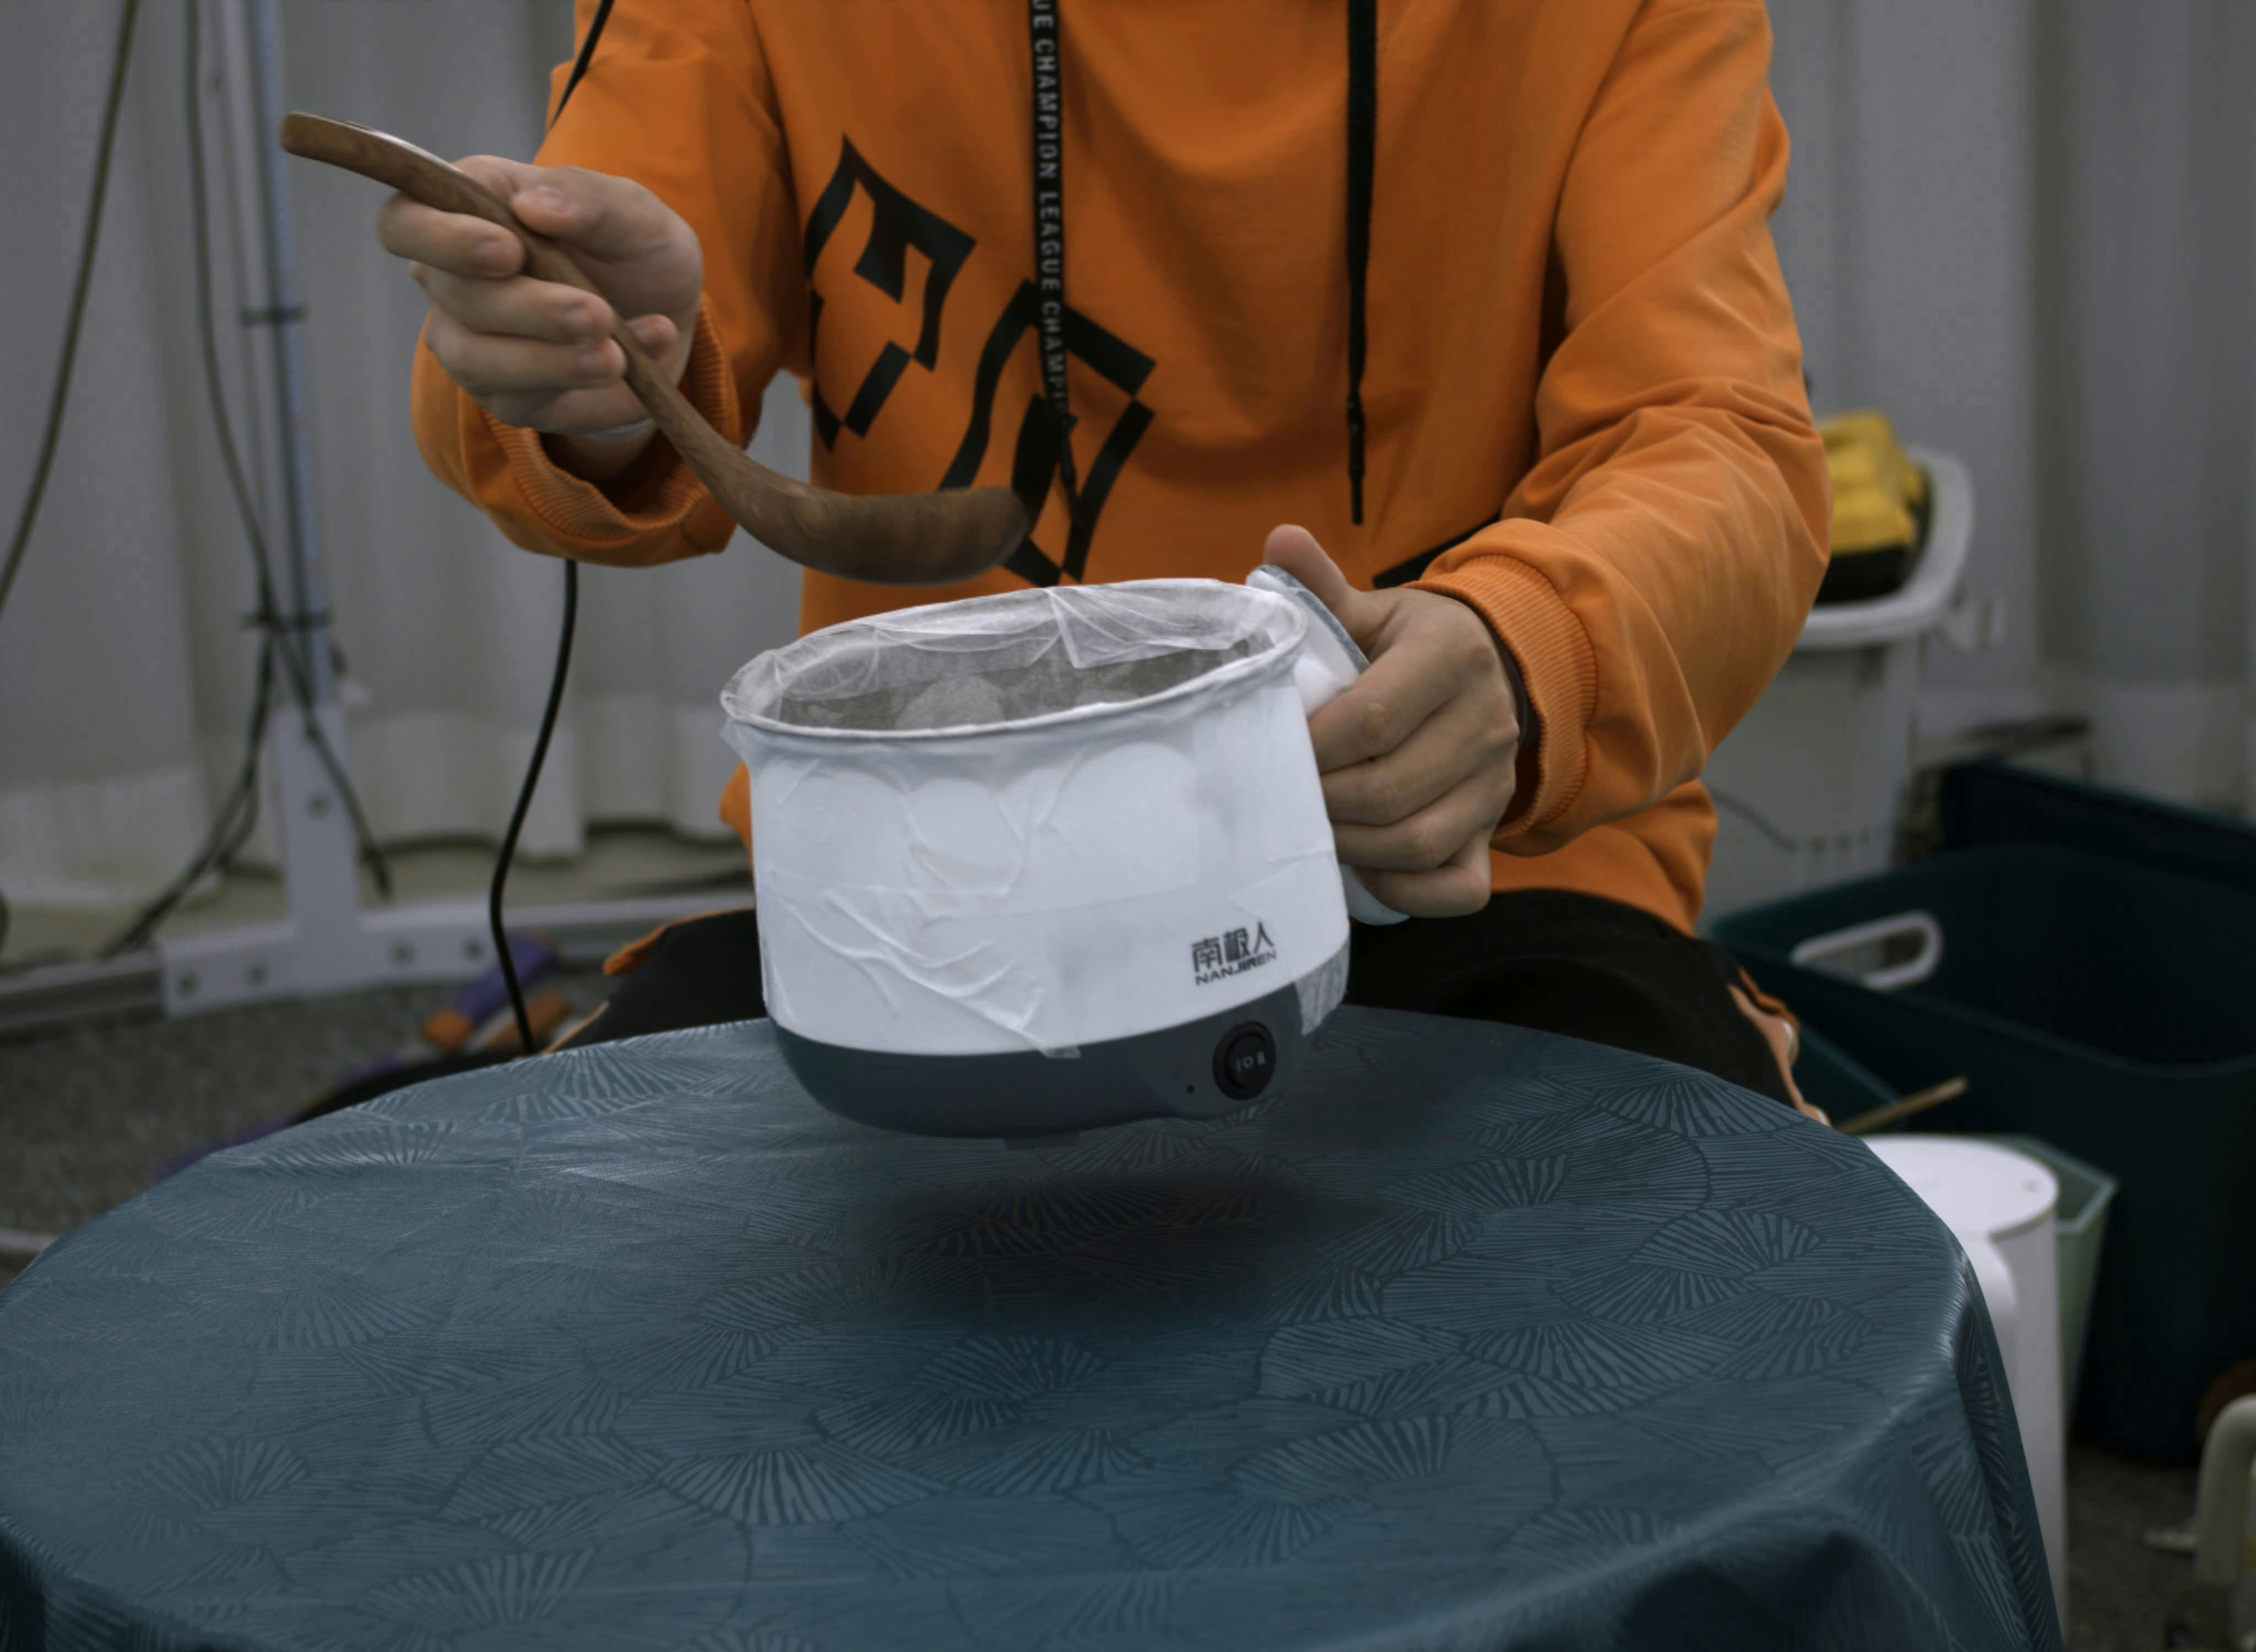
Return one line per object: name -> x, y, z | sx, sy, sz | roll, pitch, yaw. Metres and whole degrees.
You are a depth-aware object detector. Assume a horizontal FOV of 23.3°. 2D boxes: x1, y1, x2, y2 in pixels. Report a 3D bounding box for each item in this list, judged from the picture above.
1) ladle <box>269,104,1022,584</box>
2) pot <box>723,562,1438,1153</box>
ladle -> -0.143, -0.153, 1.635 | 0.261, 0.065, 0.076 | 40, 5, 11
pot -> -0.004, 0.003, 1.656 | 0.233, 0.136, 0.180 | -19, 19, -37
